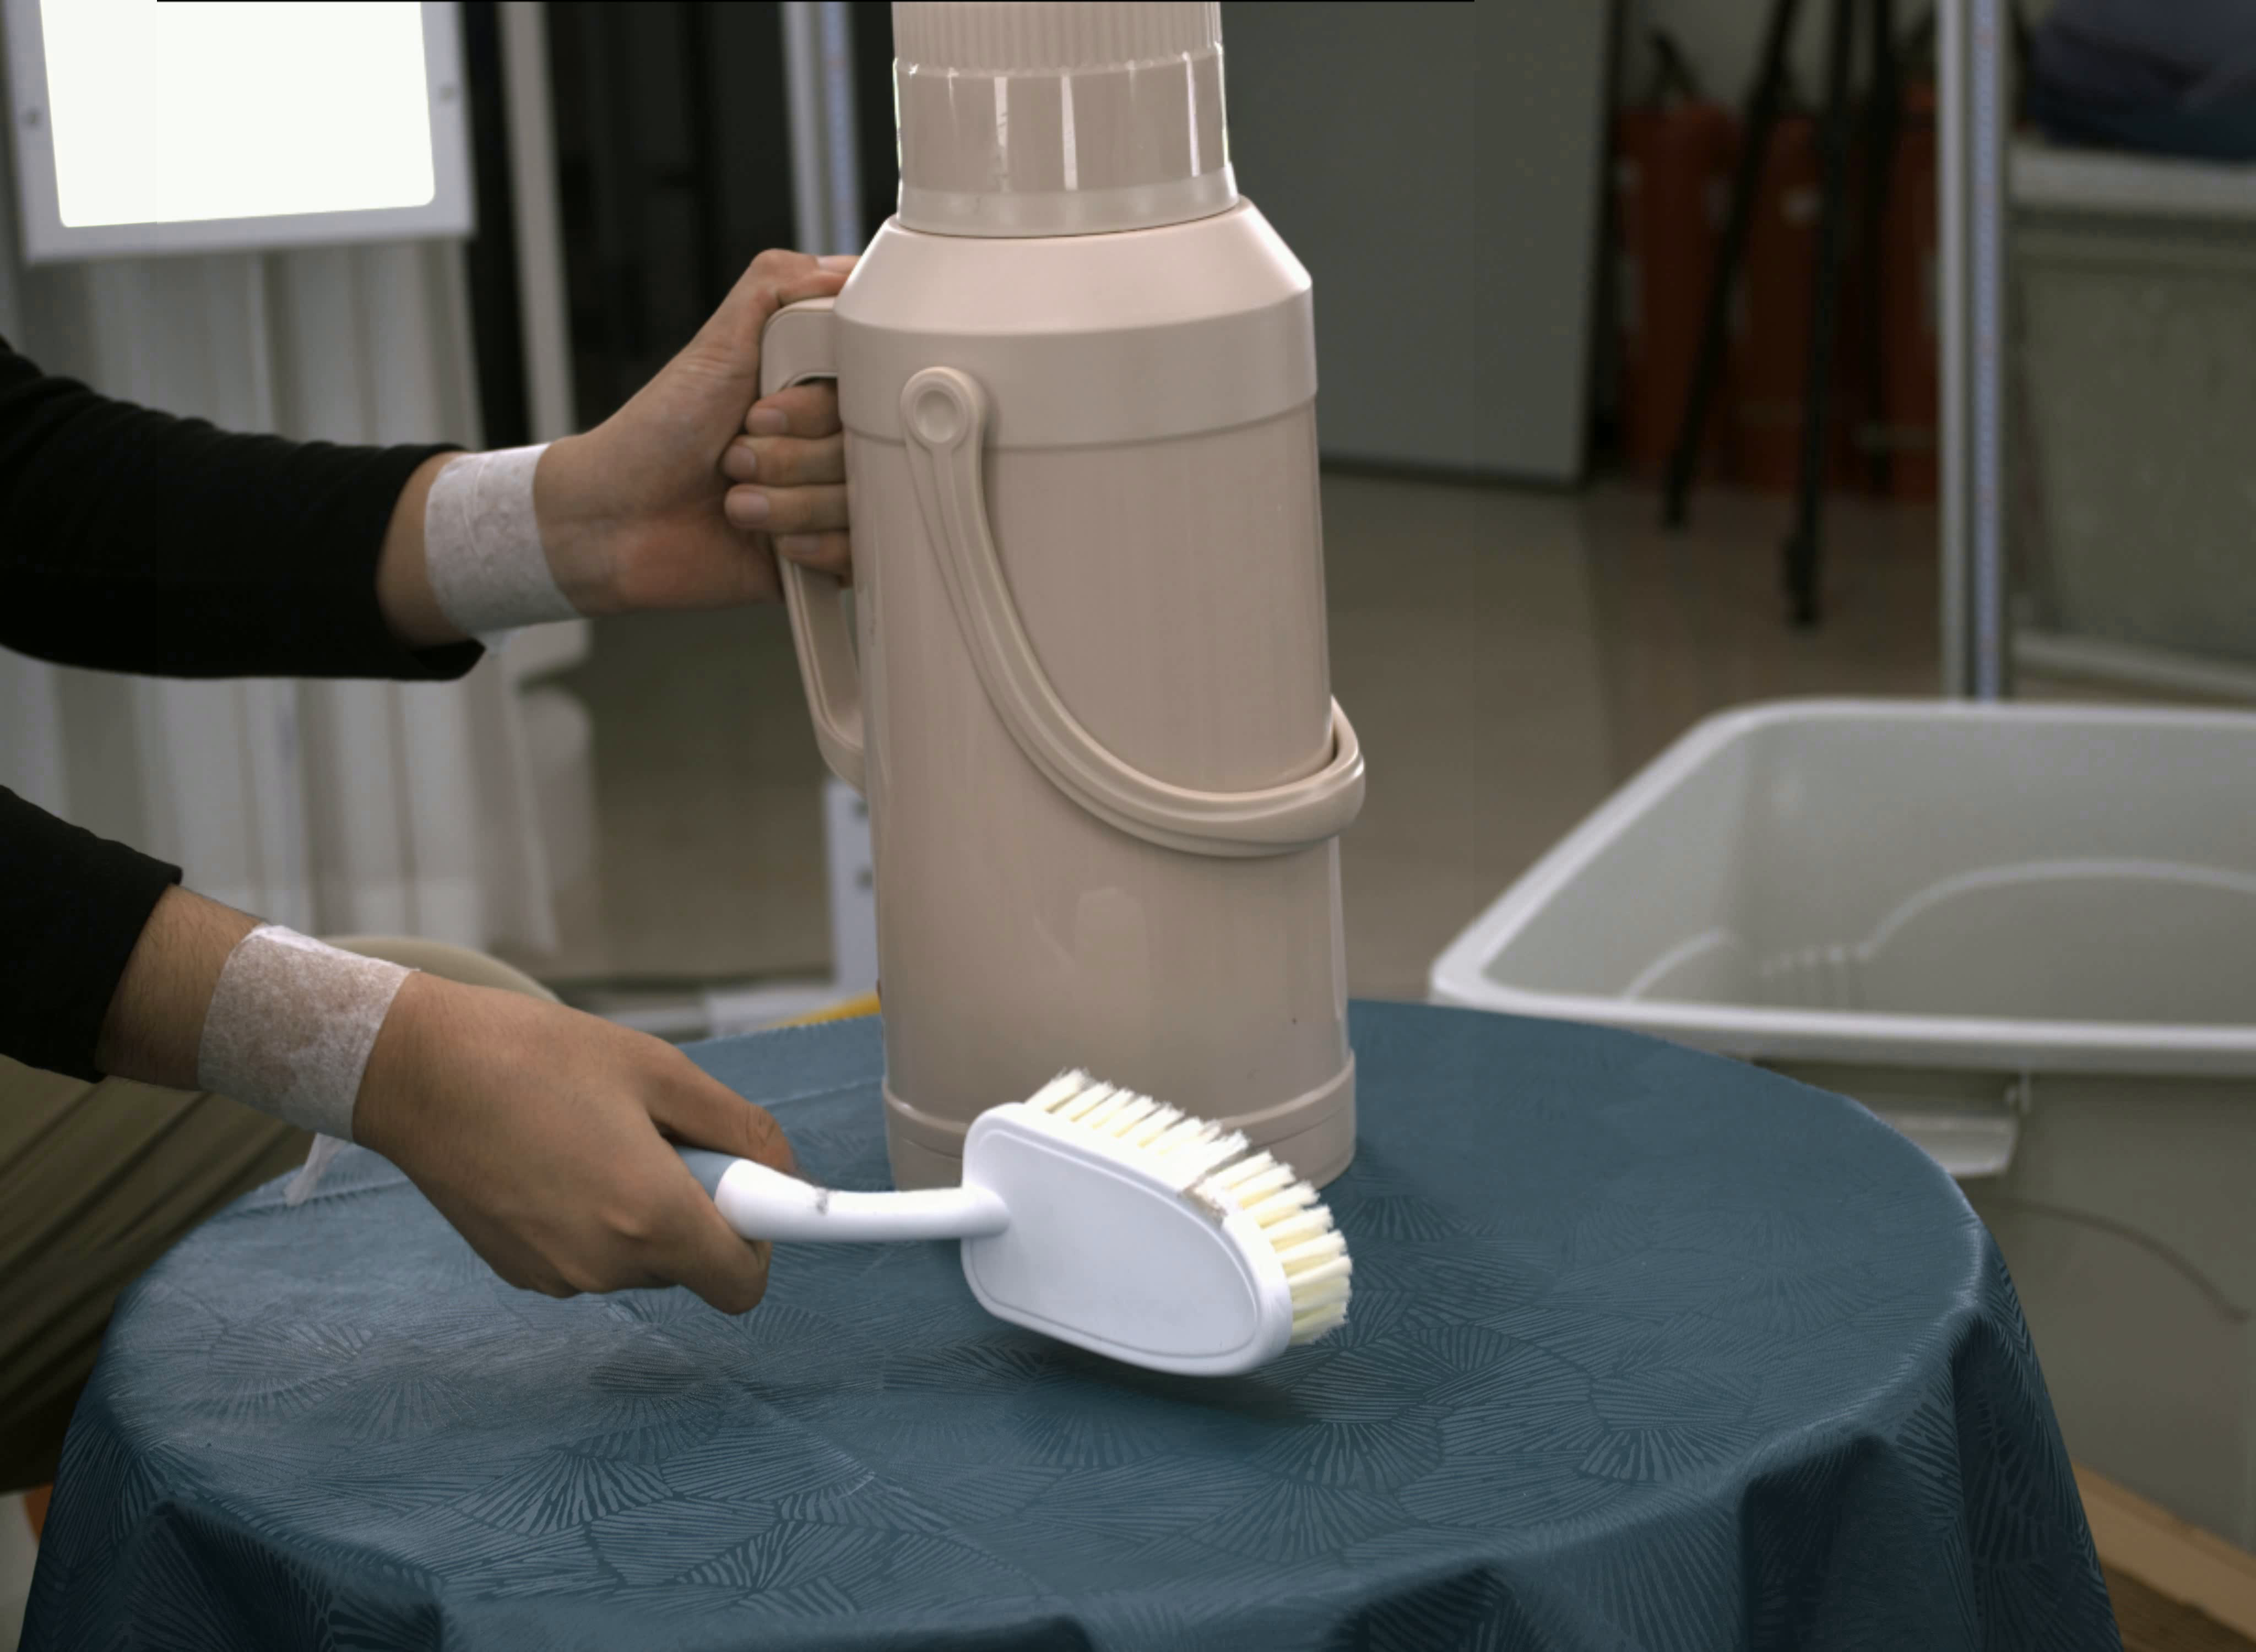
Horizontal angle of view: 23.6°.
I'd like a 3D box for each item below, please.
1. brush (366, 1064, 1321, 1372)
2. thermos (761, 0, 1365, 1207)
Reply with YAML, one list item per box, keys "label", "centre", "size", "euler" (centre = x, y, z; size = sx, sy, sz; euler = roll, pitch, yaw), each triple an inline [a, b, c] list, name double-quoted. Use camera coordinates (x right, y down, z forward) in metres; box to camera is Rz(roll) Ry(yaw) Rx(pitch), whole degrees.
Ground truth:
- label: "brush"
  centre: [-0.083, 0.100, 1.629]
  size: [0.326, 0.084, 0.083]
  euler: [11, -18, 28]
- label: "thermos"
  centre: [-0.024, -0.083, 1.768]
  size: [0.208, 0.410, 0.173]
  euler: [5, 17, 30]
